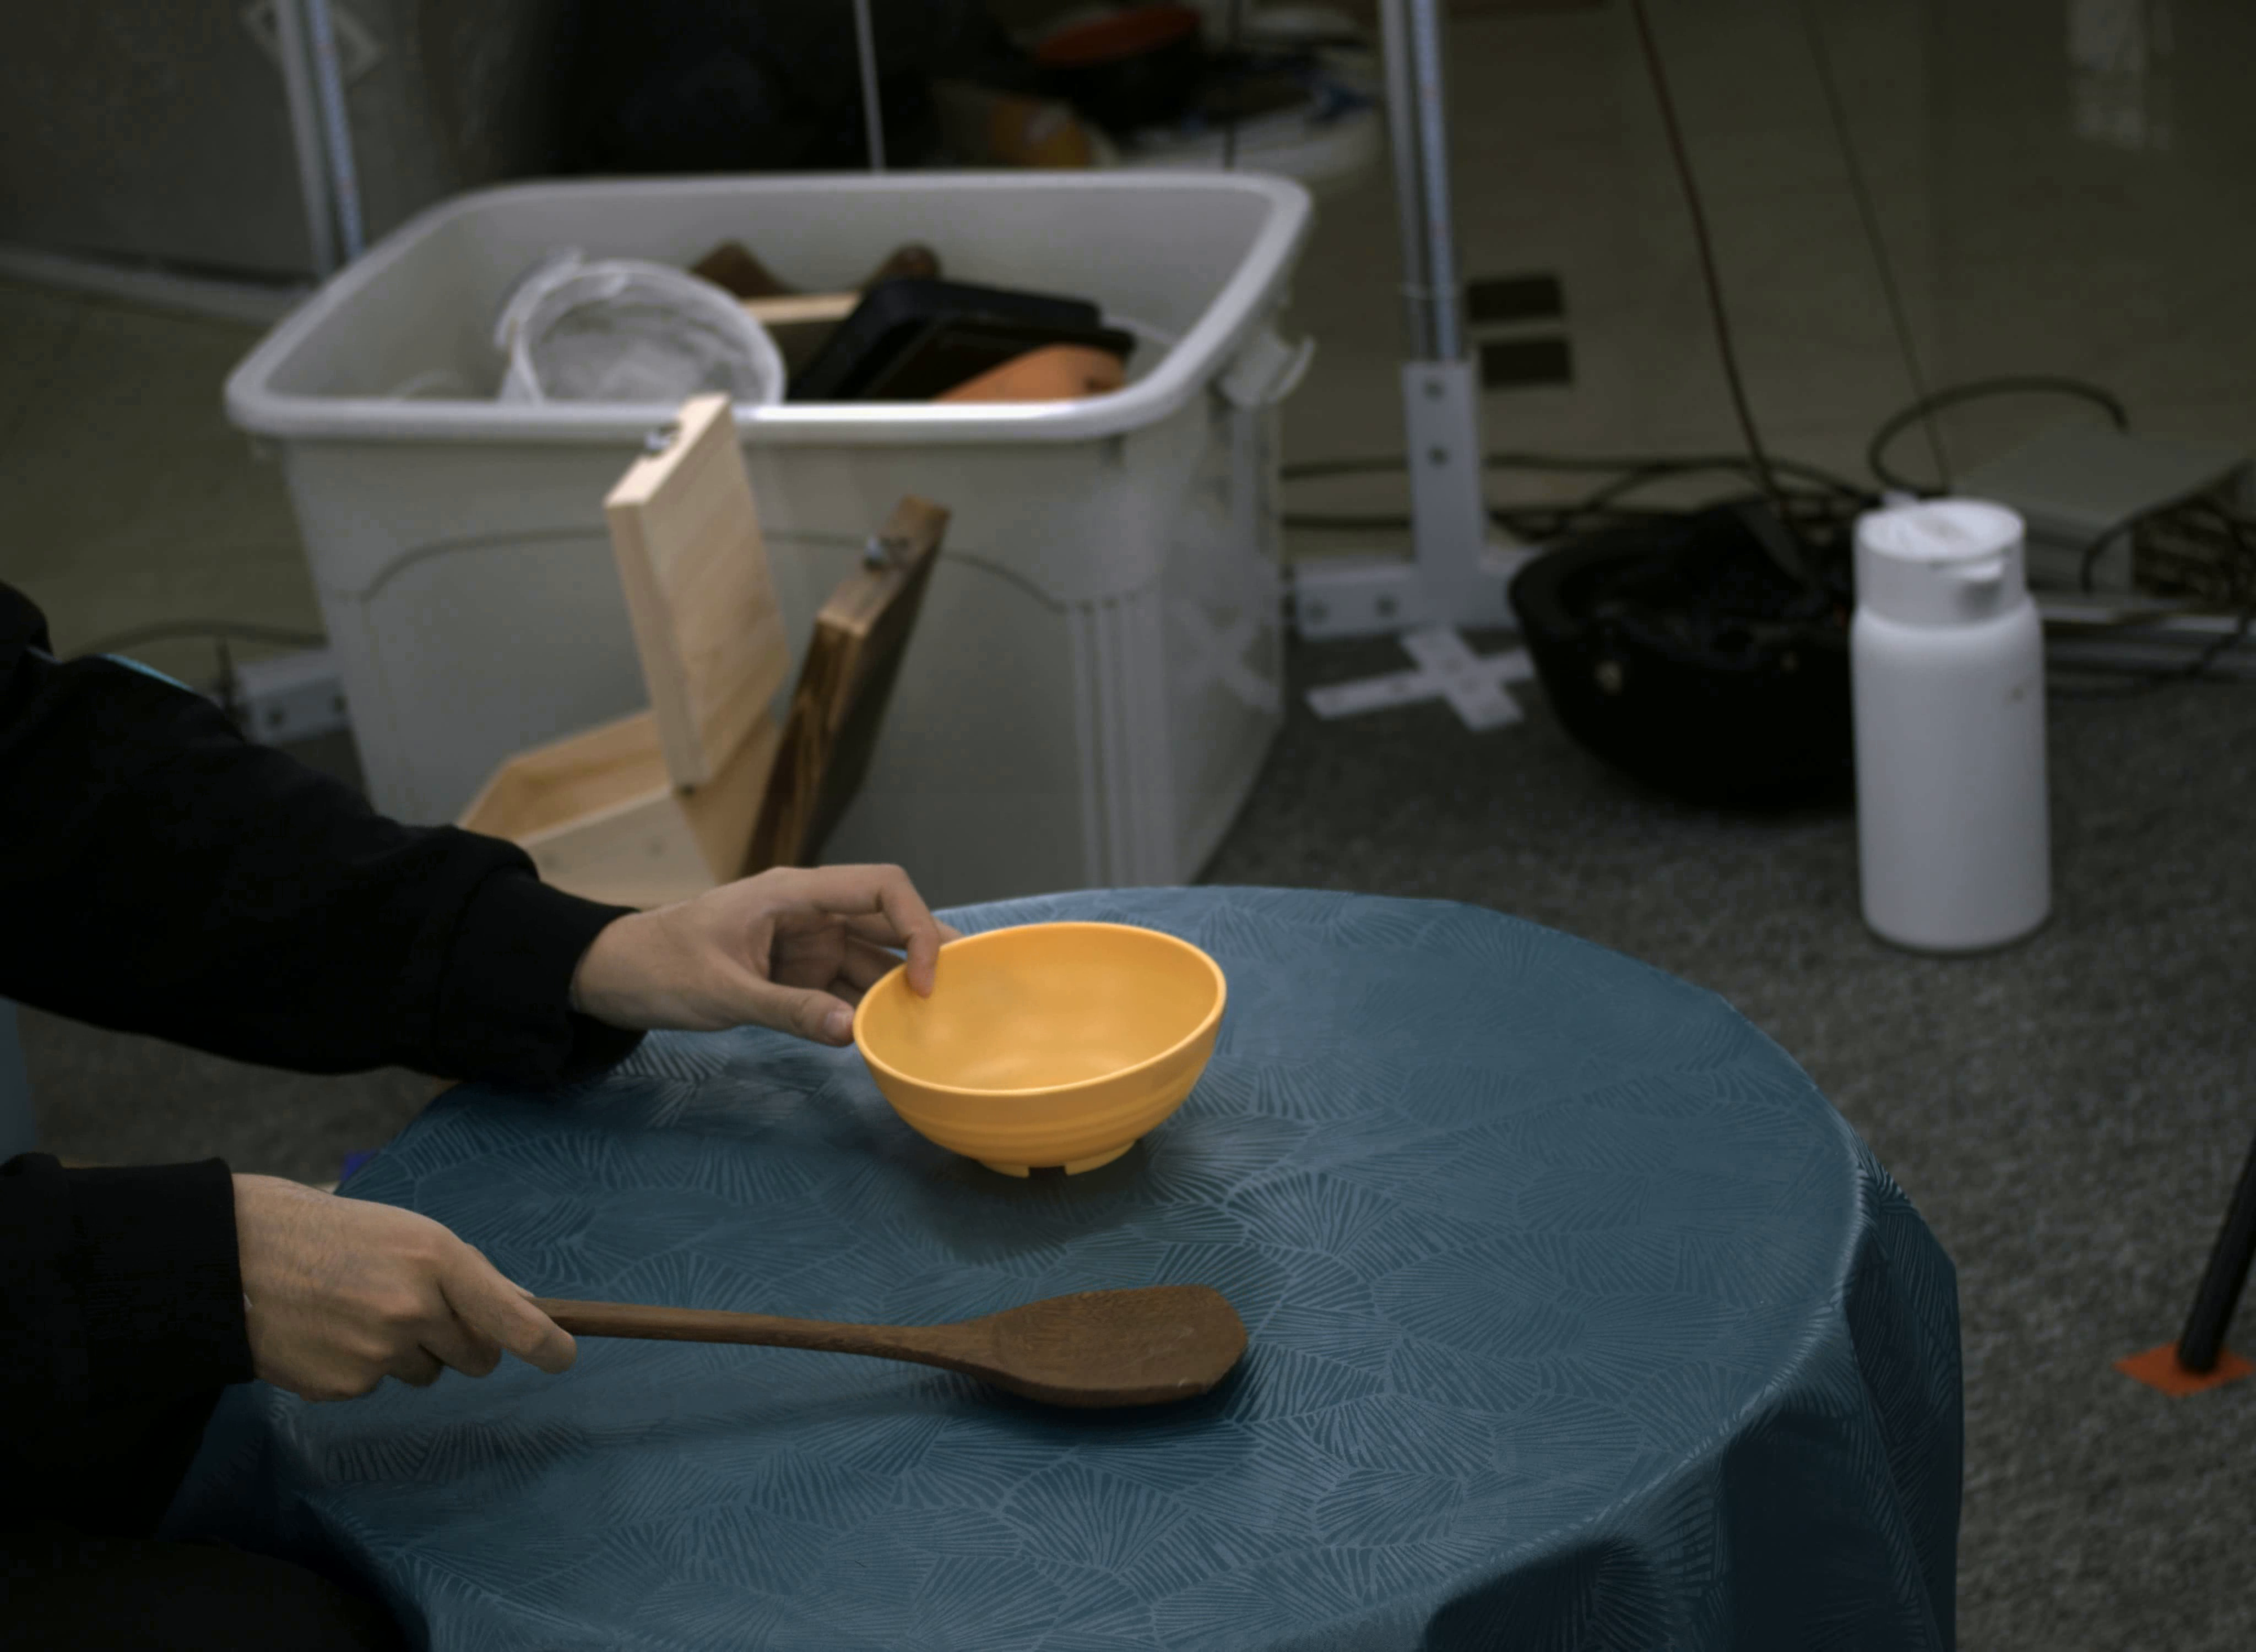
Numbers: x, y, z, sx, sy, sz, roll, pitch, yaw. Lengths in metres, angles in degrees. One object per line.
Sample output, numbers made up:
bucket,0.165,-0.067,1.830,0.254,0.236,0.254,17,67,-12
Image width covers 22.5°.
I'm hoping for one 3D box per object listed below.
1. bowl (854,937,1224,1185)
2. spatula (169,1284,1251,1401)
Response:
bowl,-0.031,0.097,2.184,0.145,0.061,0.143,-6,23,3
spatula,-0.149,0.179,2.023,0.385,0.016,0.095,3,17,-3
